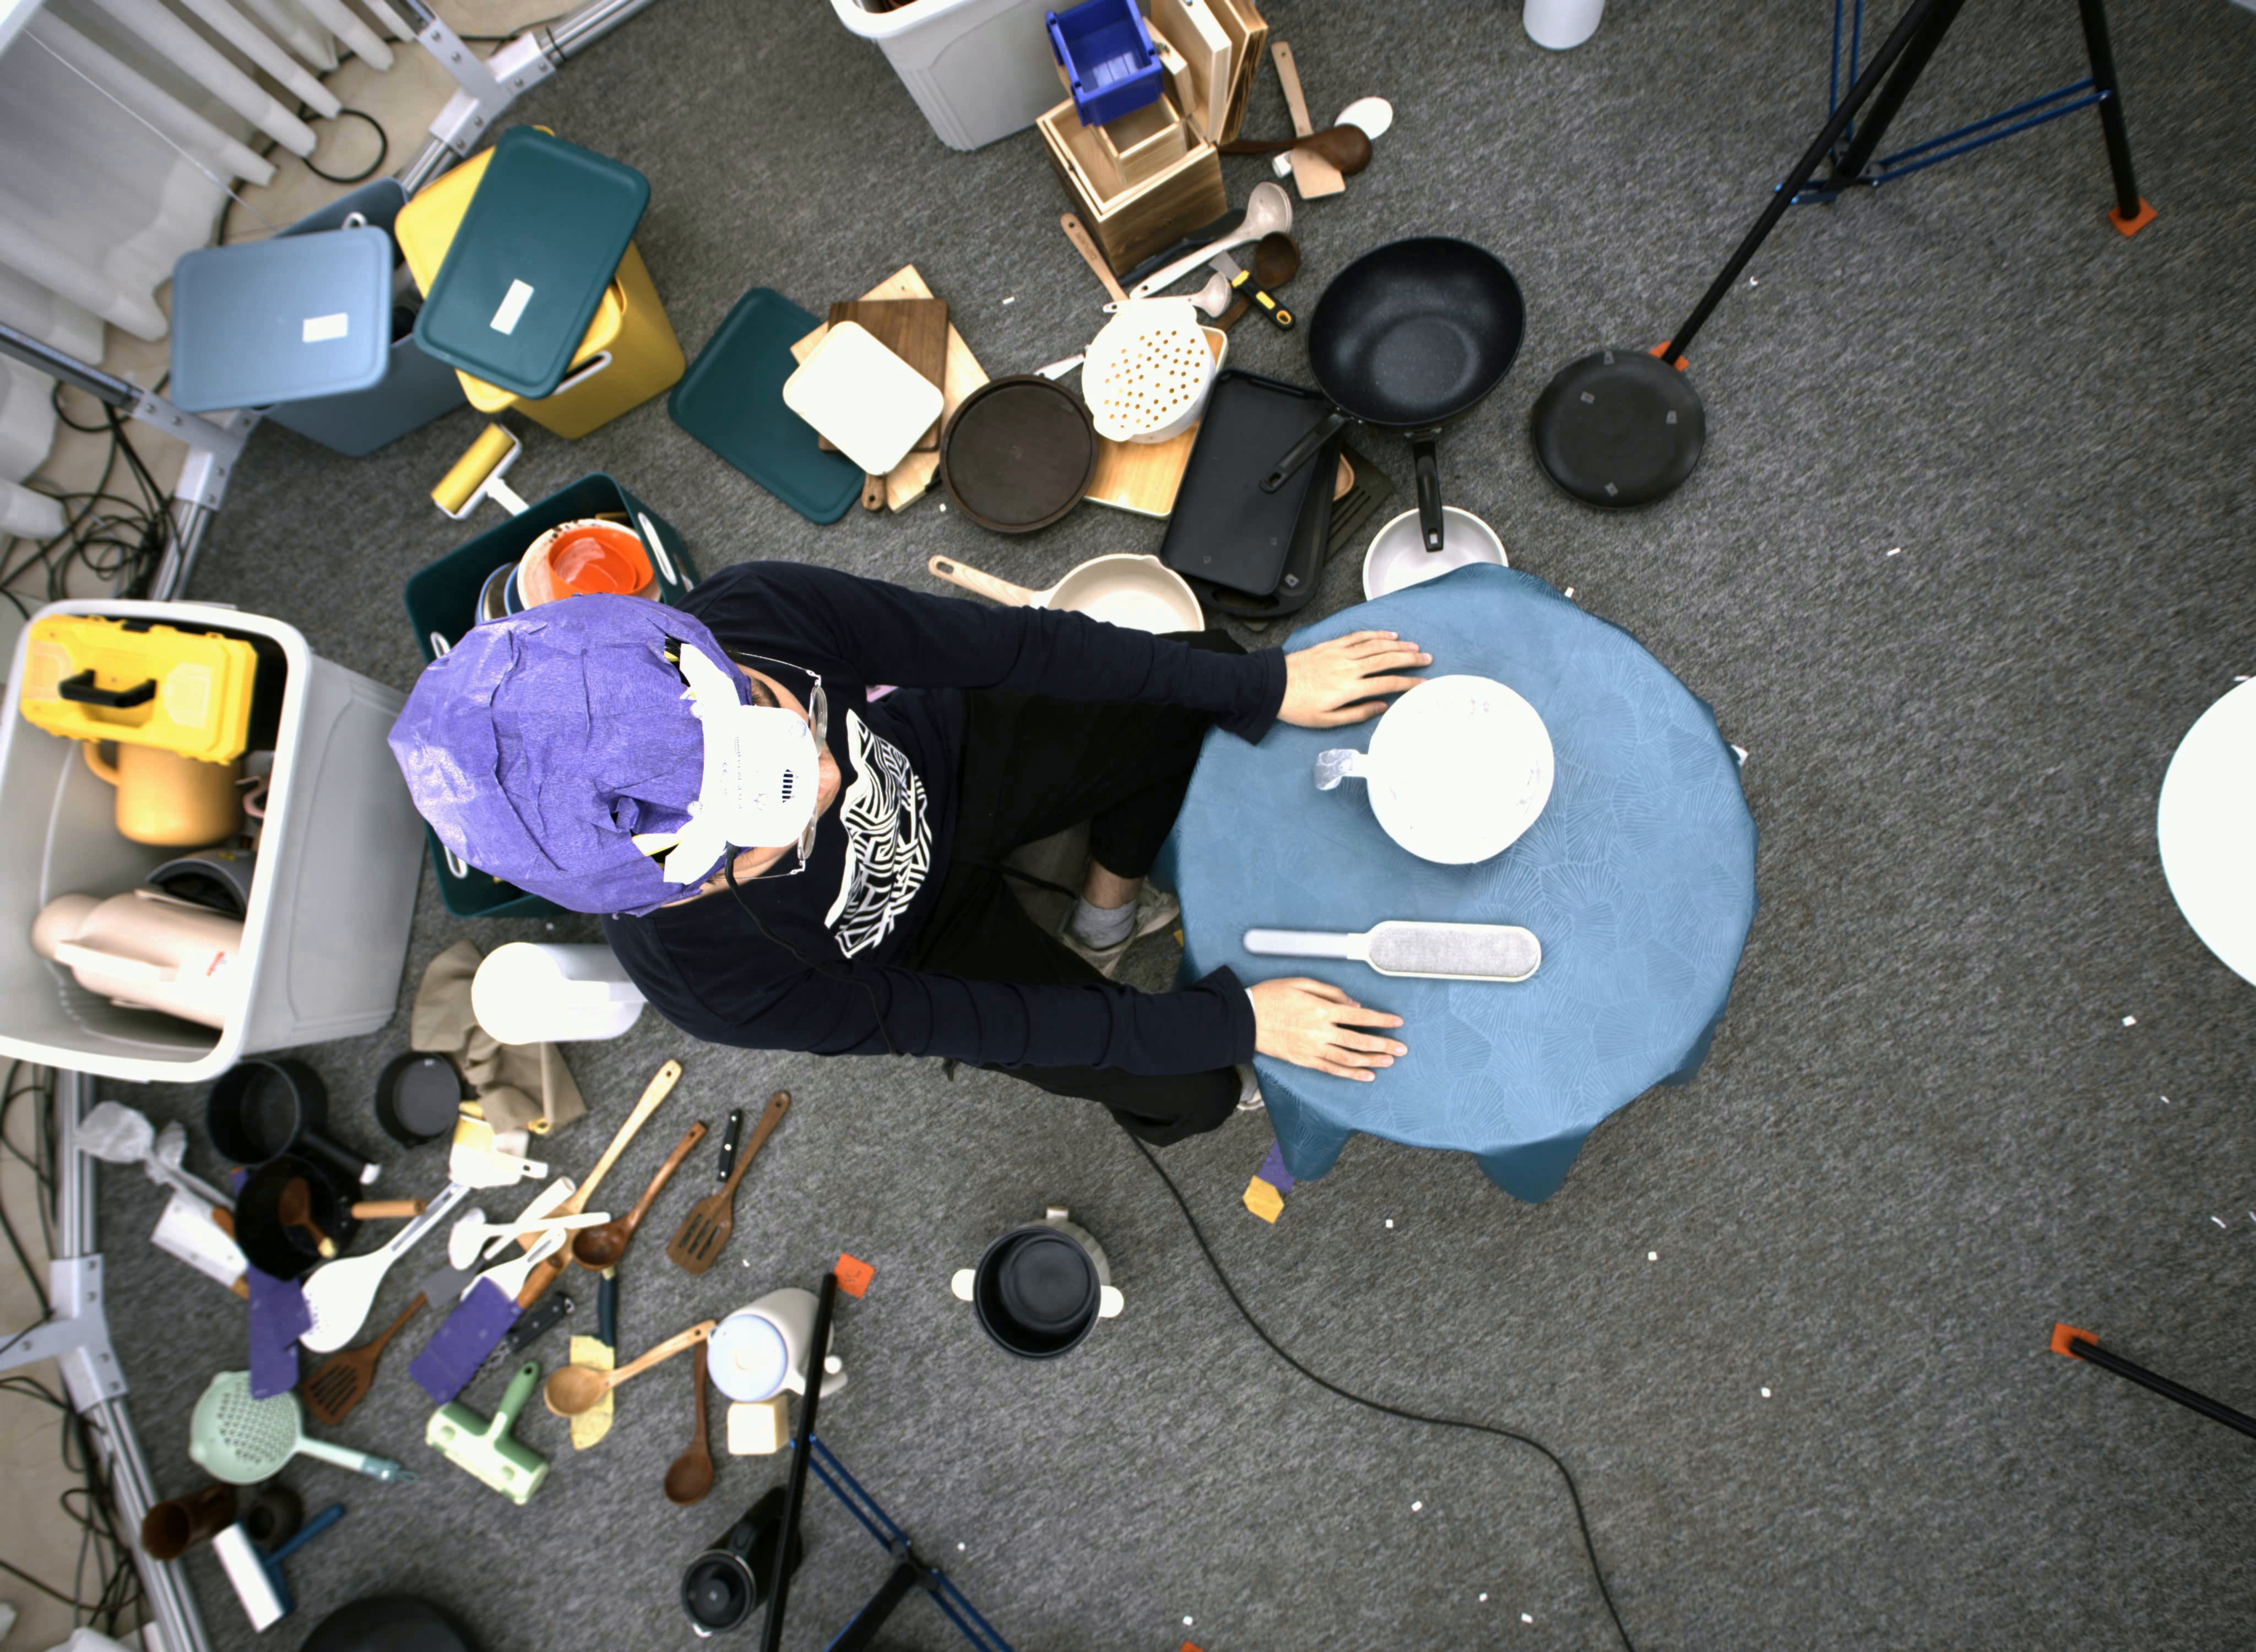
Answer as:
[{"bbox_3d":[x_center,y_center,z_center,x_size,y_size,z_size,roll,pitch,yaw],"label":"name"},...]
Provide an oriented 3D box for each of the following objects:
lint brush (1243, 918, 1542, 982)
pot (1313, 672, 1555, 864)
[{"bbox_3d":[0.274,0.125,1.443,0.310,0.021,0.060,2,93,11],"label":"lint brush"},{"bbox_3d":[0.303,-0.056,1.389,0.234,0.137,0.177,2,84,10],"label":"pot"}]
